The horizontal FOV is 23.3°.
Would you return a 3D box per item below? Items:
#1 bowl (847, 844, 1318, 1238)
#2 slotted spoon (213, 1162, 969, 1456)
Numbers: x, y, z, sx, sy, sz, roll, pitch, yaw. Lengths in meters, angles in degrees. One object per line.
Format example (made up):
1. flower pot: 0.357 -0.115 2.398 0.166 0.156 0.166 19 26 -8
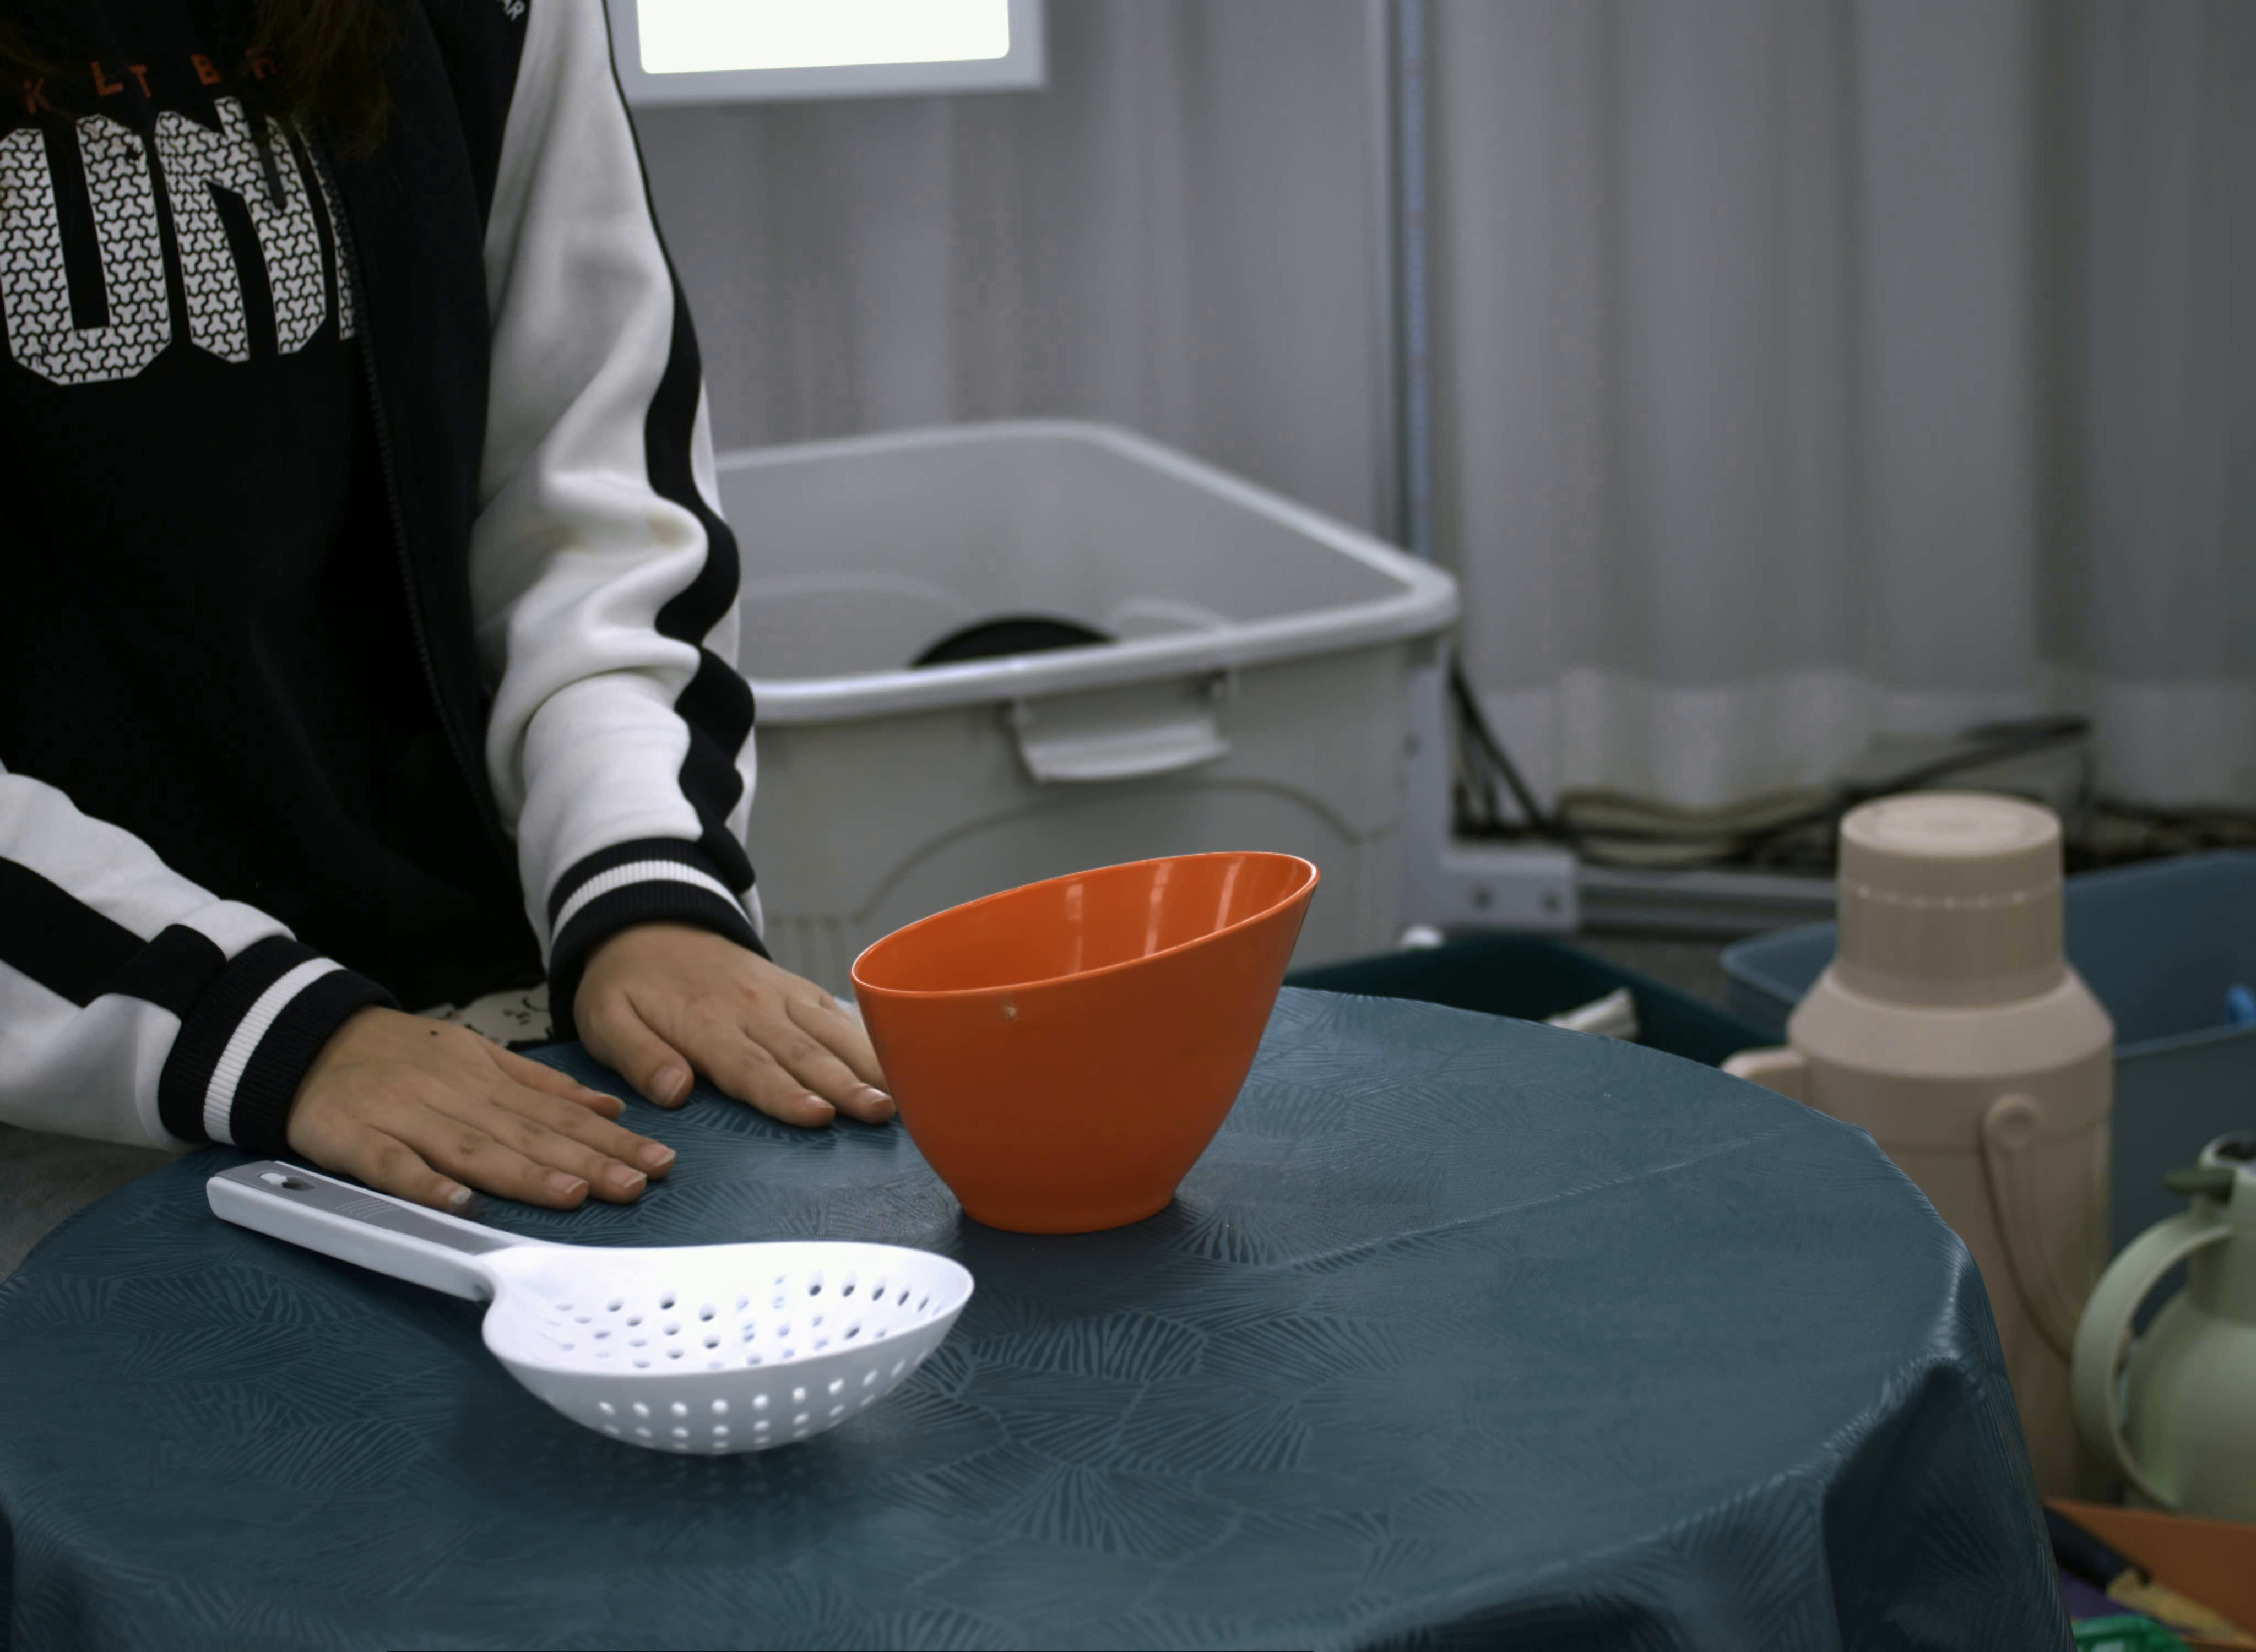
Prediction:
1. bowl: -0.011 0.068 1.691 0.147 0.104 0.149 -5 17 1
2. slotted spoon: -0.176 0.131 1.600 0.135 0.045 0.352 -11 16 -36
